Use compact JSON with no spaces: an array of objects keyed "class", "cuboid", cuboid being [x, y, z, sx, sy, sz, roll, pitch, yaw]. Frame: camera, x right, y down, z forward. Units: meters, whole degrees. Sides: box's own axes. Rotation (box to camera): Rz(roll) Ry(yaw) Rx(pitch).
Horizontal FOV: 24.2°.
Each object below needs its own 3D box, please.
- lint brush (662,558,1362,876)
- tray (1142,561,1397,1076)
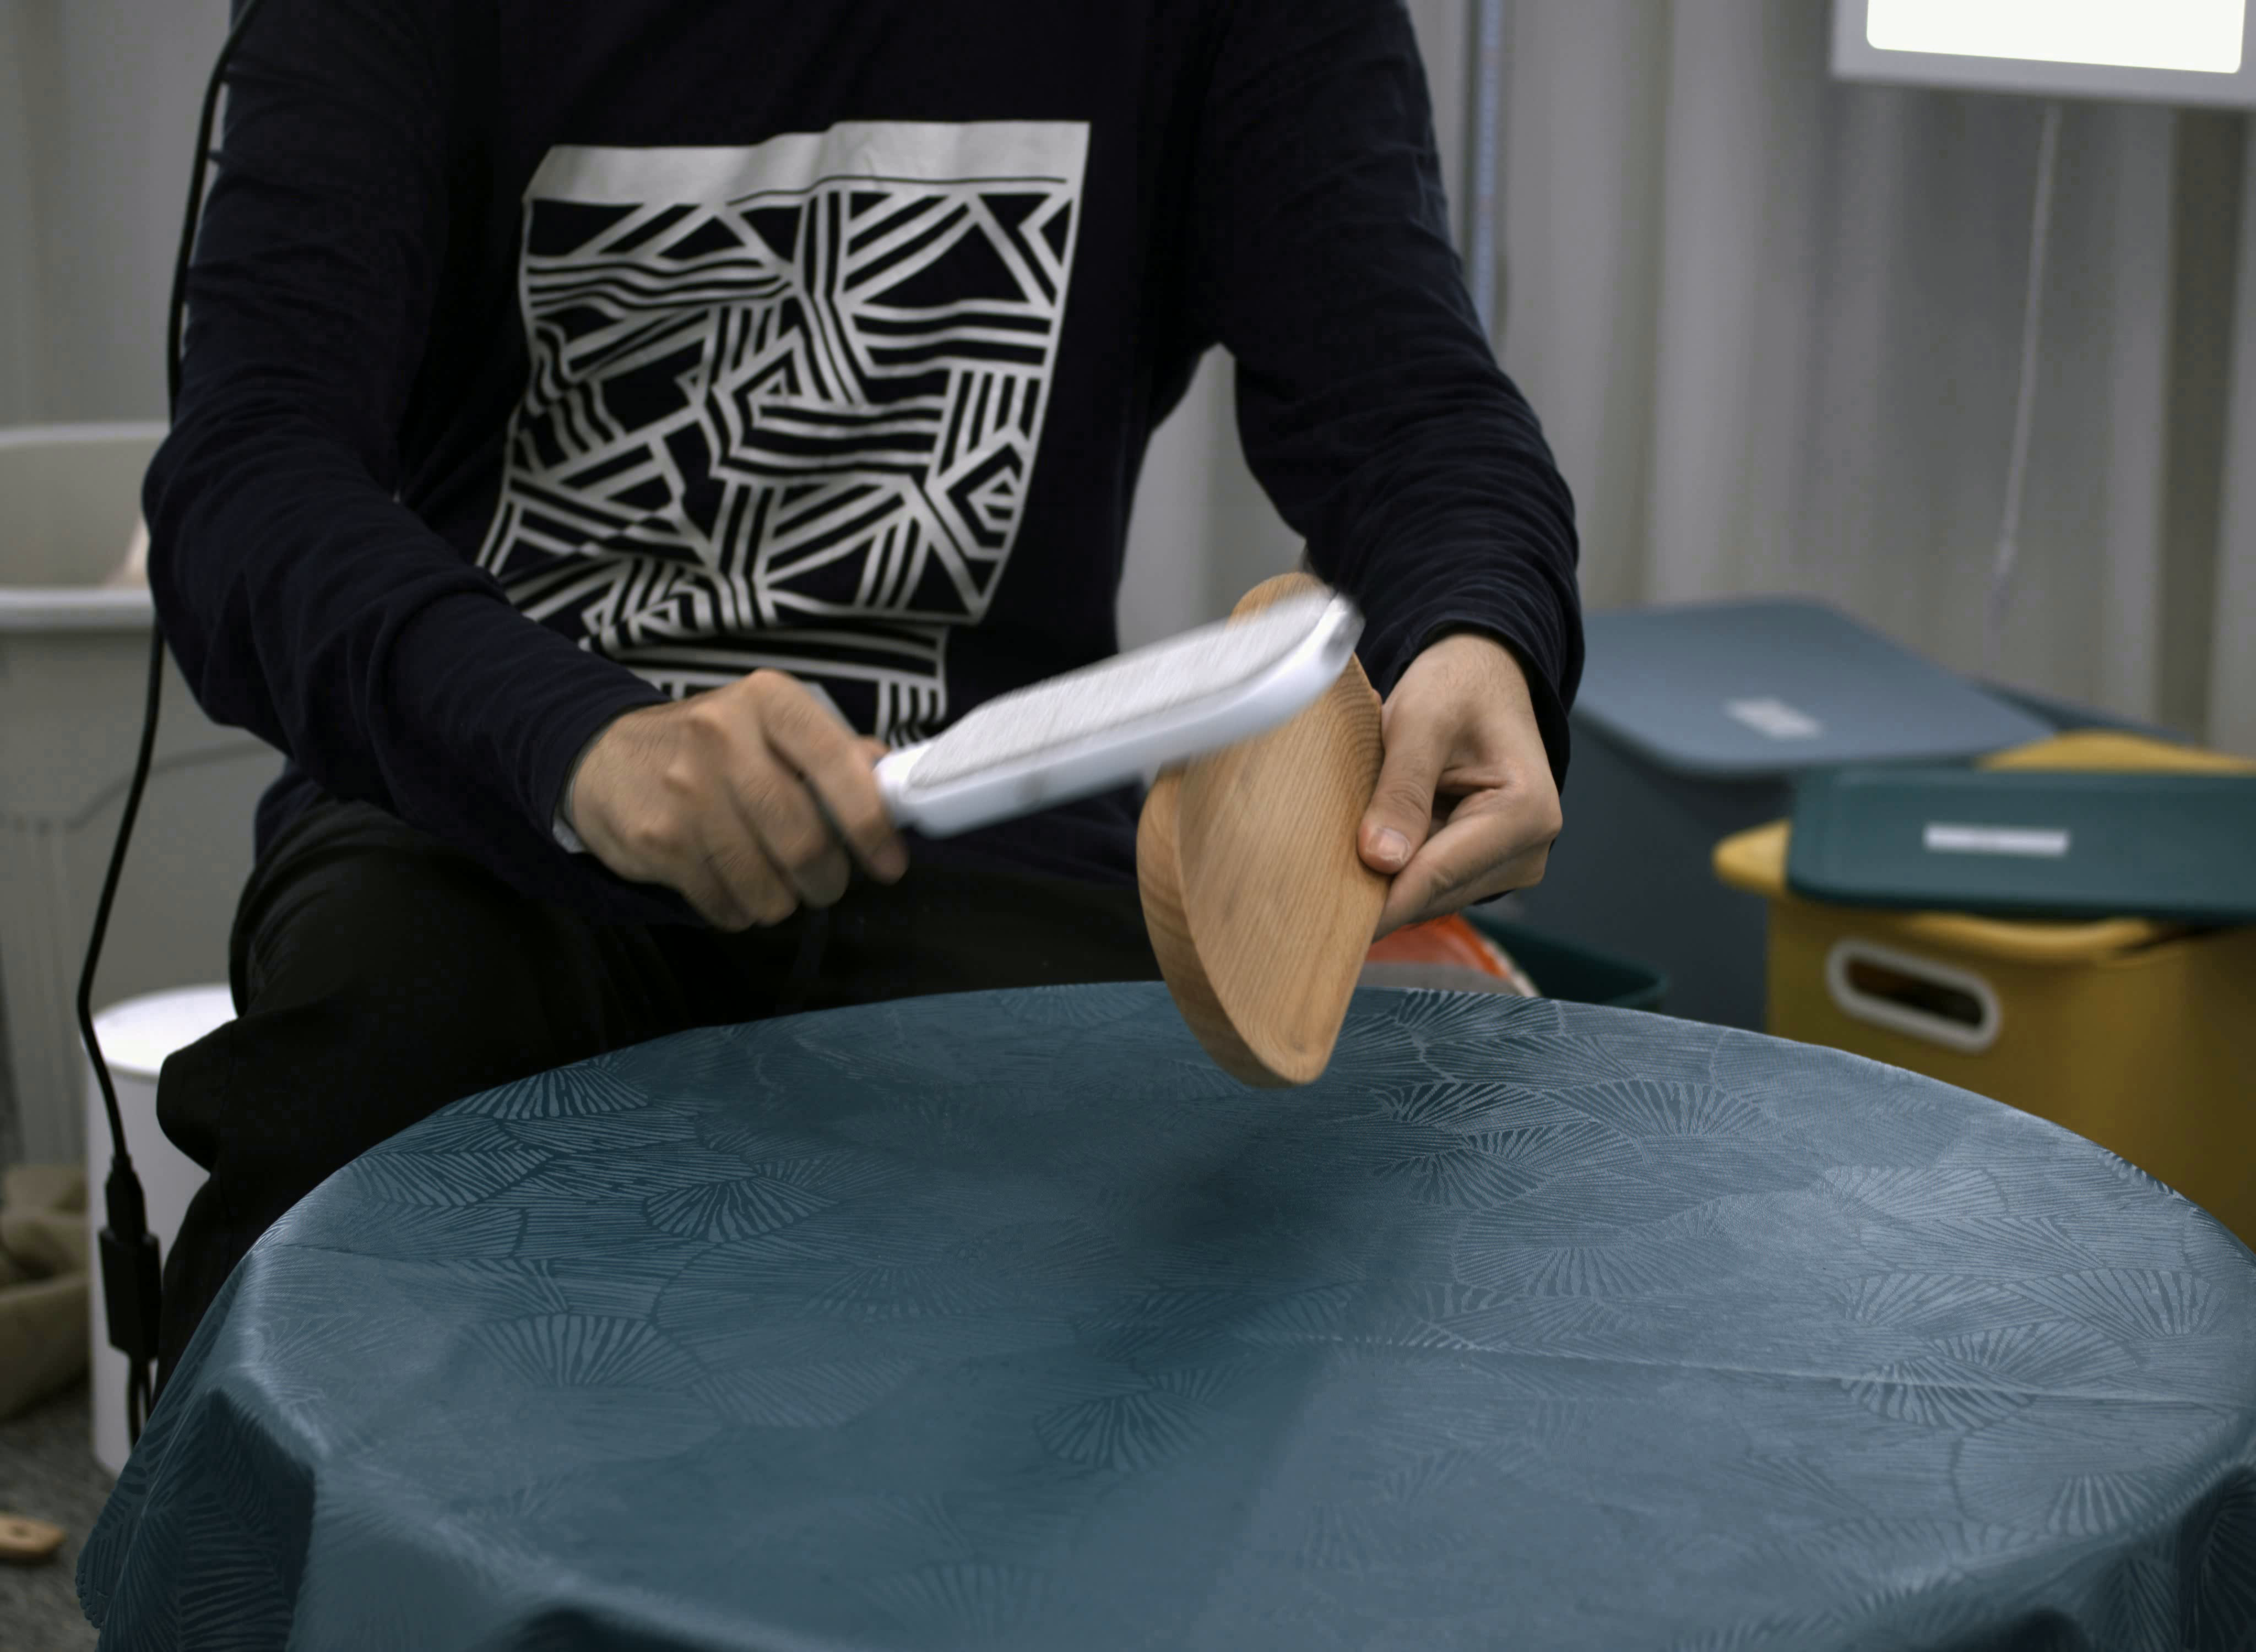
[{"class":"lint brush","cuboid":[-0.043,-0.028,1.629,0.306,0.021,0.060,-18,29,43]},{"class":"tray","cuboid":[0.044,-0.004,1.612,0.020,0.103,0.230,-17,22,19]}]
